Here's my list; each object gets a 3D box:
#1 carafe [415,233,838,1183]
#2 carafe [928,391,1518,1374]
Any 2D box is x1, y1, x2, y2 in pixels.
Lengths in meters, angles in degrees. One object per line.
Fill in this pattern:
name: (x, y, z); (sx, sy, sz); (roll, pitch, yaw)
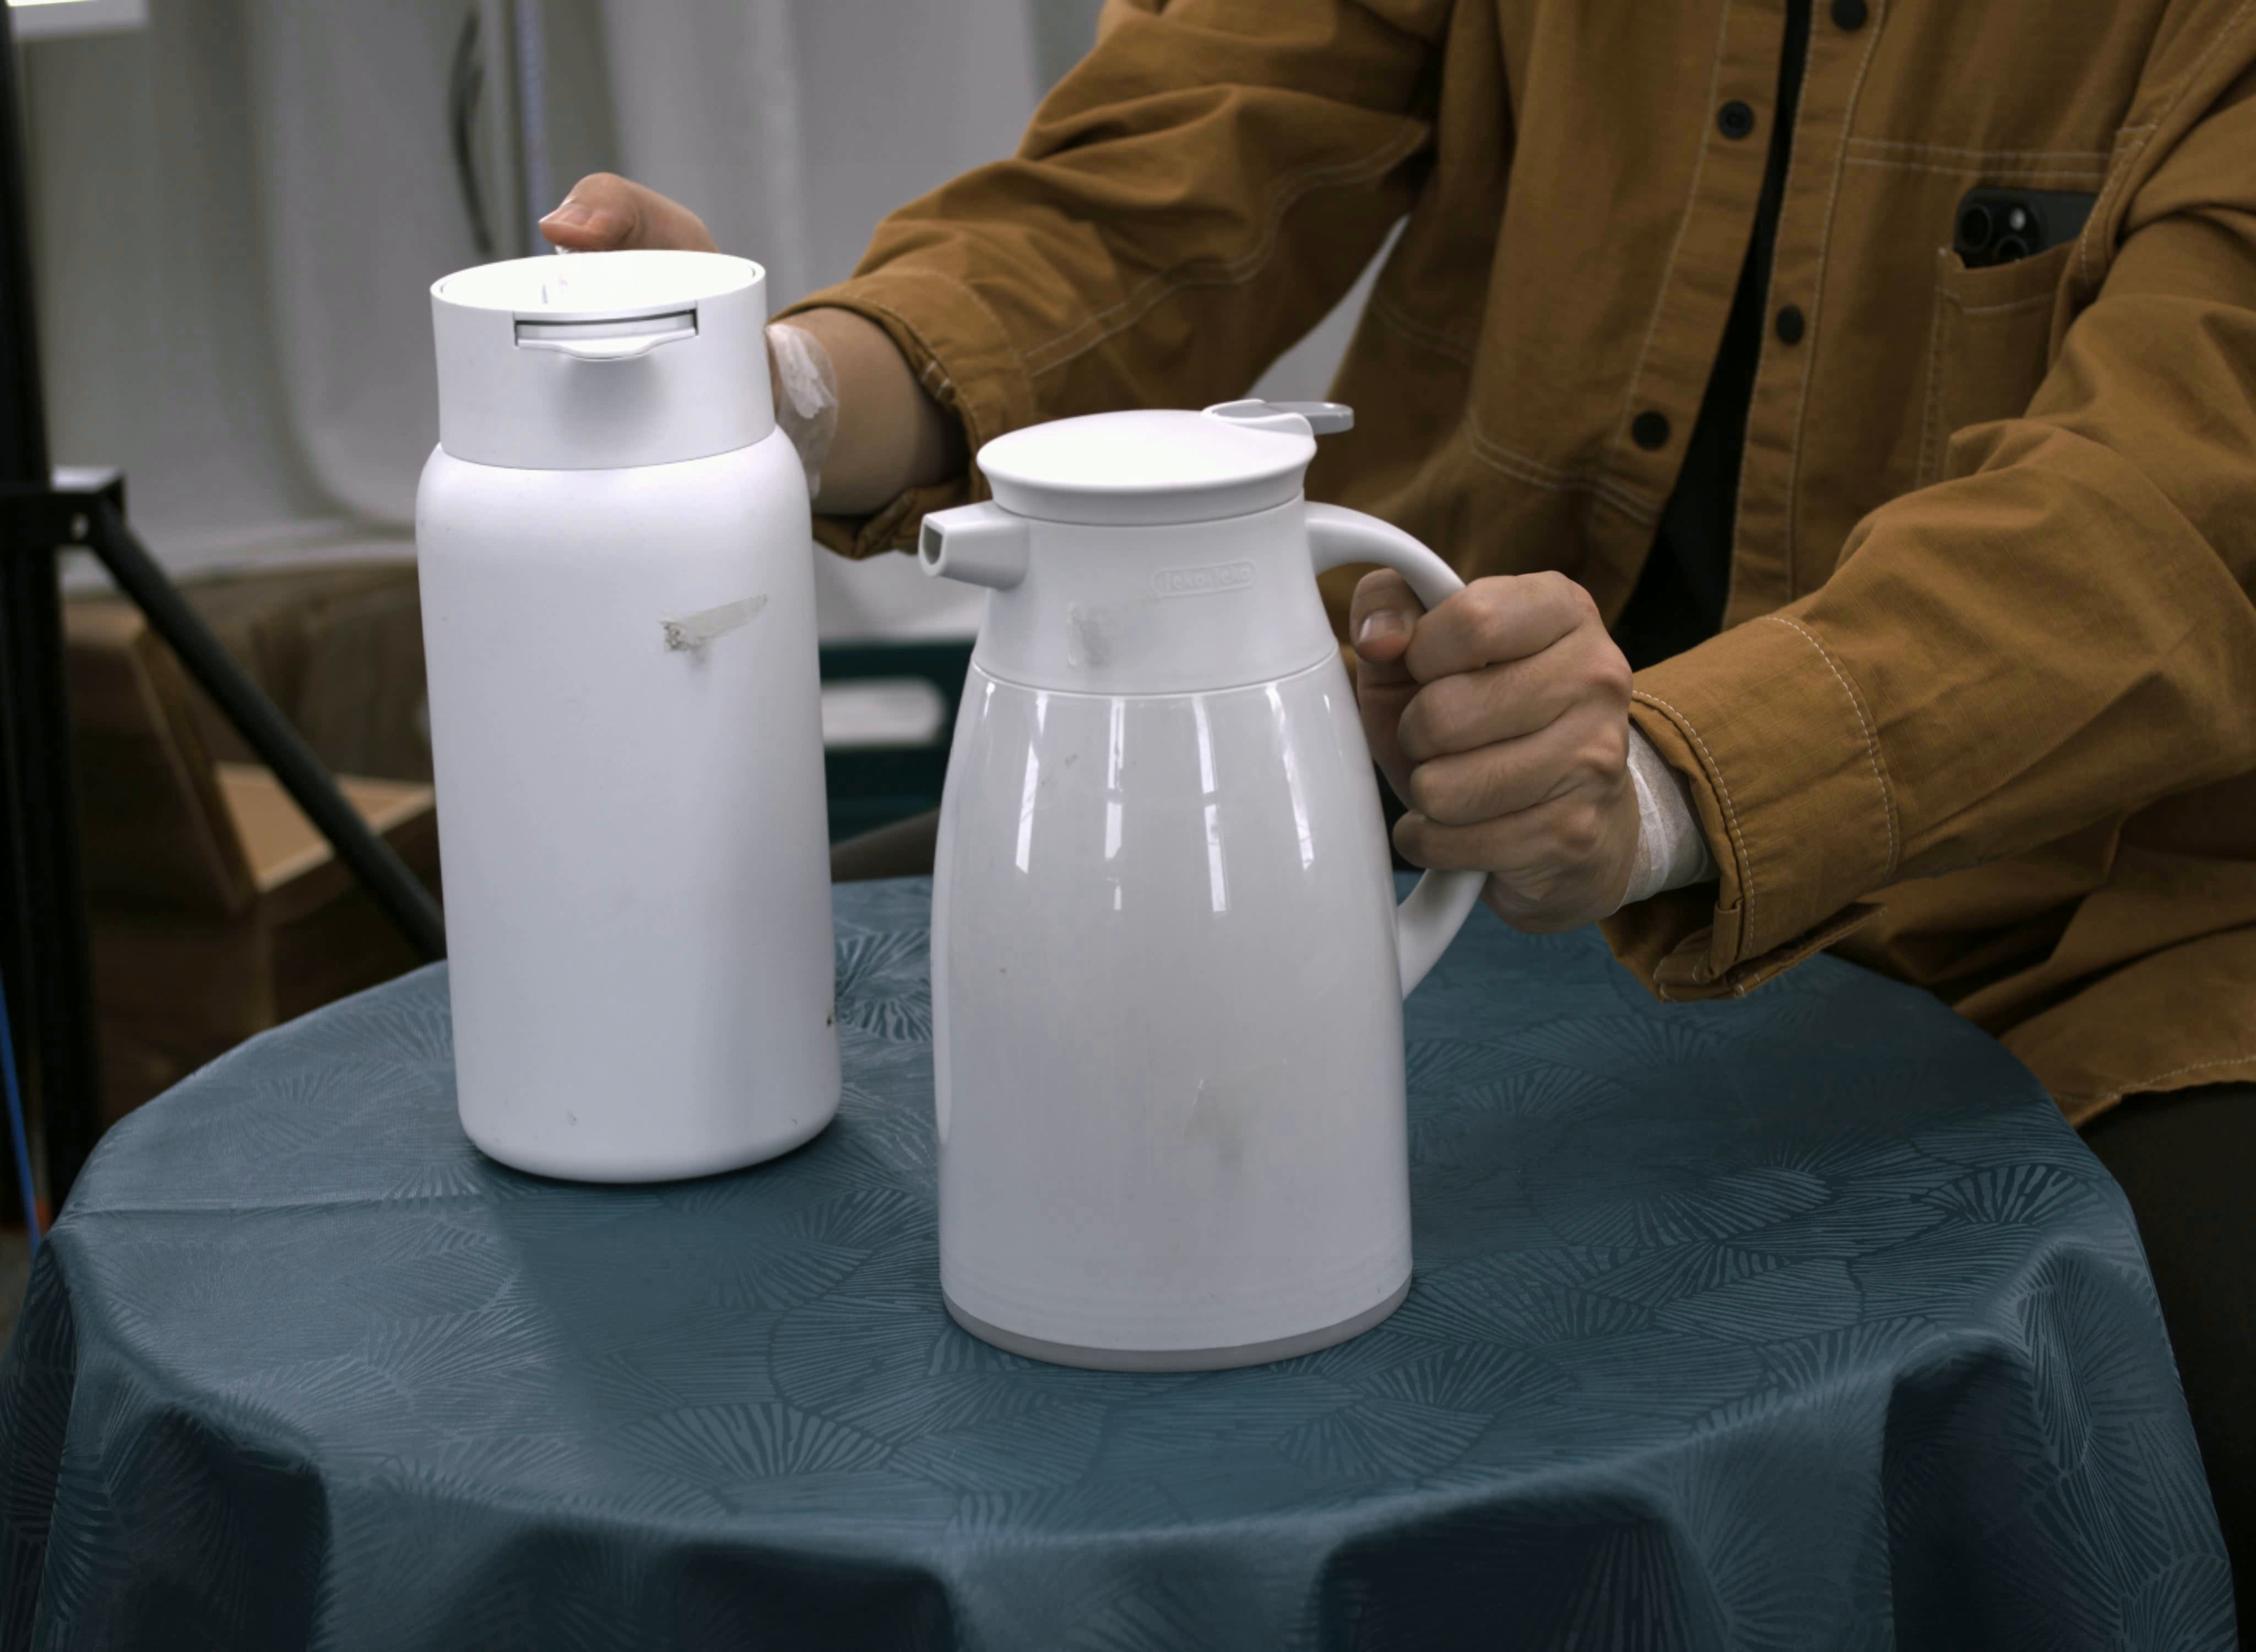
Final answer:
carafe: (-0.154, -0.040, 1.613); (0.122, 0.269, 0.174); (-6, 15, -7)
carafe: (0.027, 0.007, 1.453); (0.164, 0.249, 0.135); (-6, 16, -20)
